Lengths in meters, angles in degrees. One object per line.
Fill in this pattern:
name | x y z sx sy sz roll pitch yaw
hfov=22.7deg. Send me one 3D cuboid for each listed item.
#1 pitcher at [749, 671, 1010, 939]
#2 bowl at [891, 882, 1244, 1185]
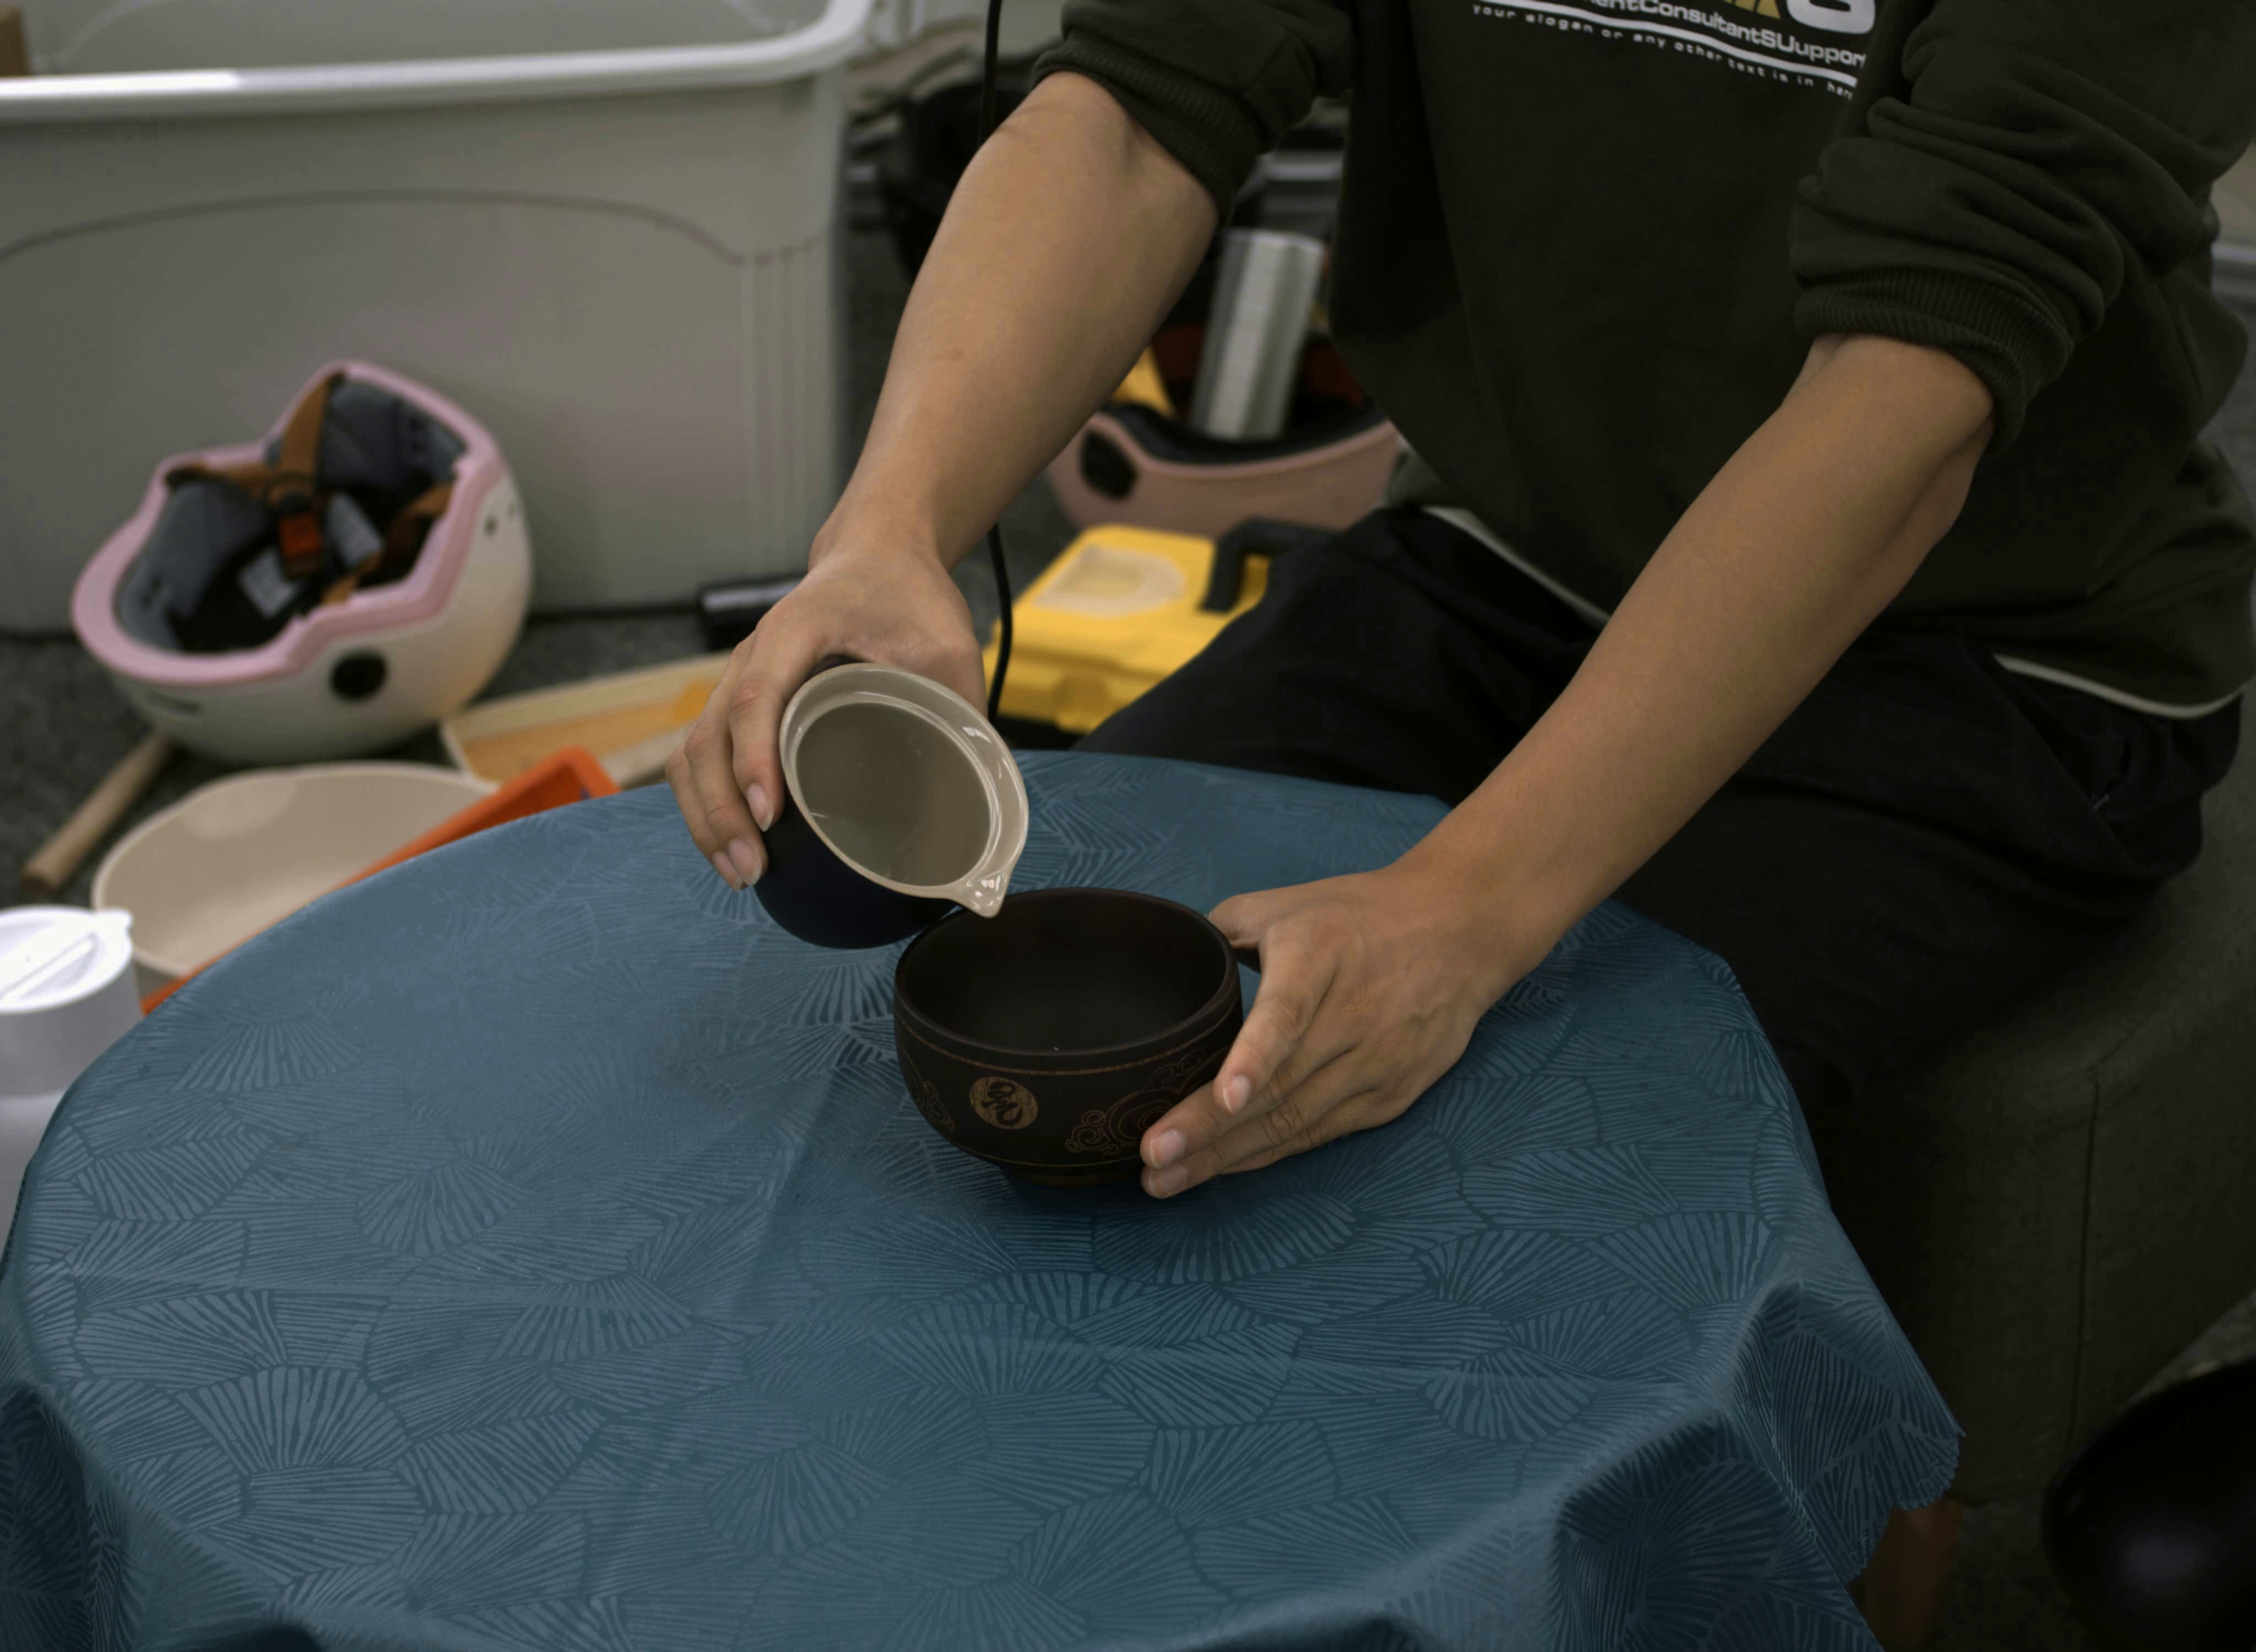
pitcher | -0.087 0.003 1.904 0.084 0.070 0.097 -15 68 -43
bowl | -0.019 0.076 1.878 0.117 0.069 0.120 -4 28 2
